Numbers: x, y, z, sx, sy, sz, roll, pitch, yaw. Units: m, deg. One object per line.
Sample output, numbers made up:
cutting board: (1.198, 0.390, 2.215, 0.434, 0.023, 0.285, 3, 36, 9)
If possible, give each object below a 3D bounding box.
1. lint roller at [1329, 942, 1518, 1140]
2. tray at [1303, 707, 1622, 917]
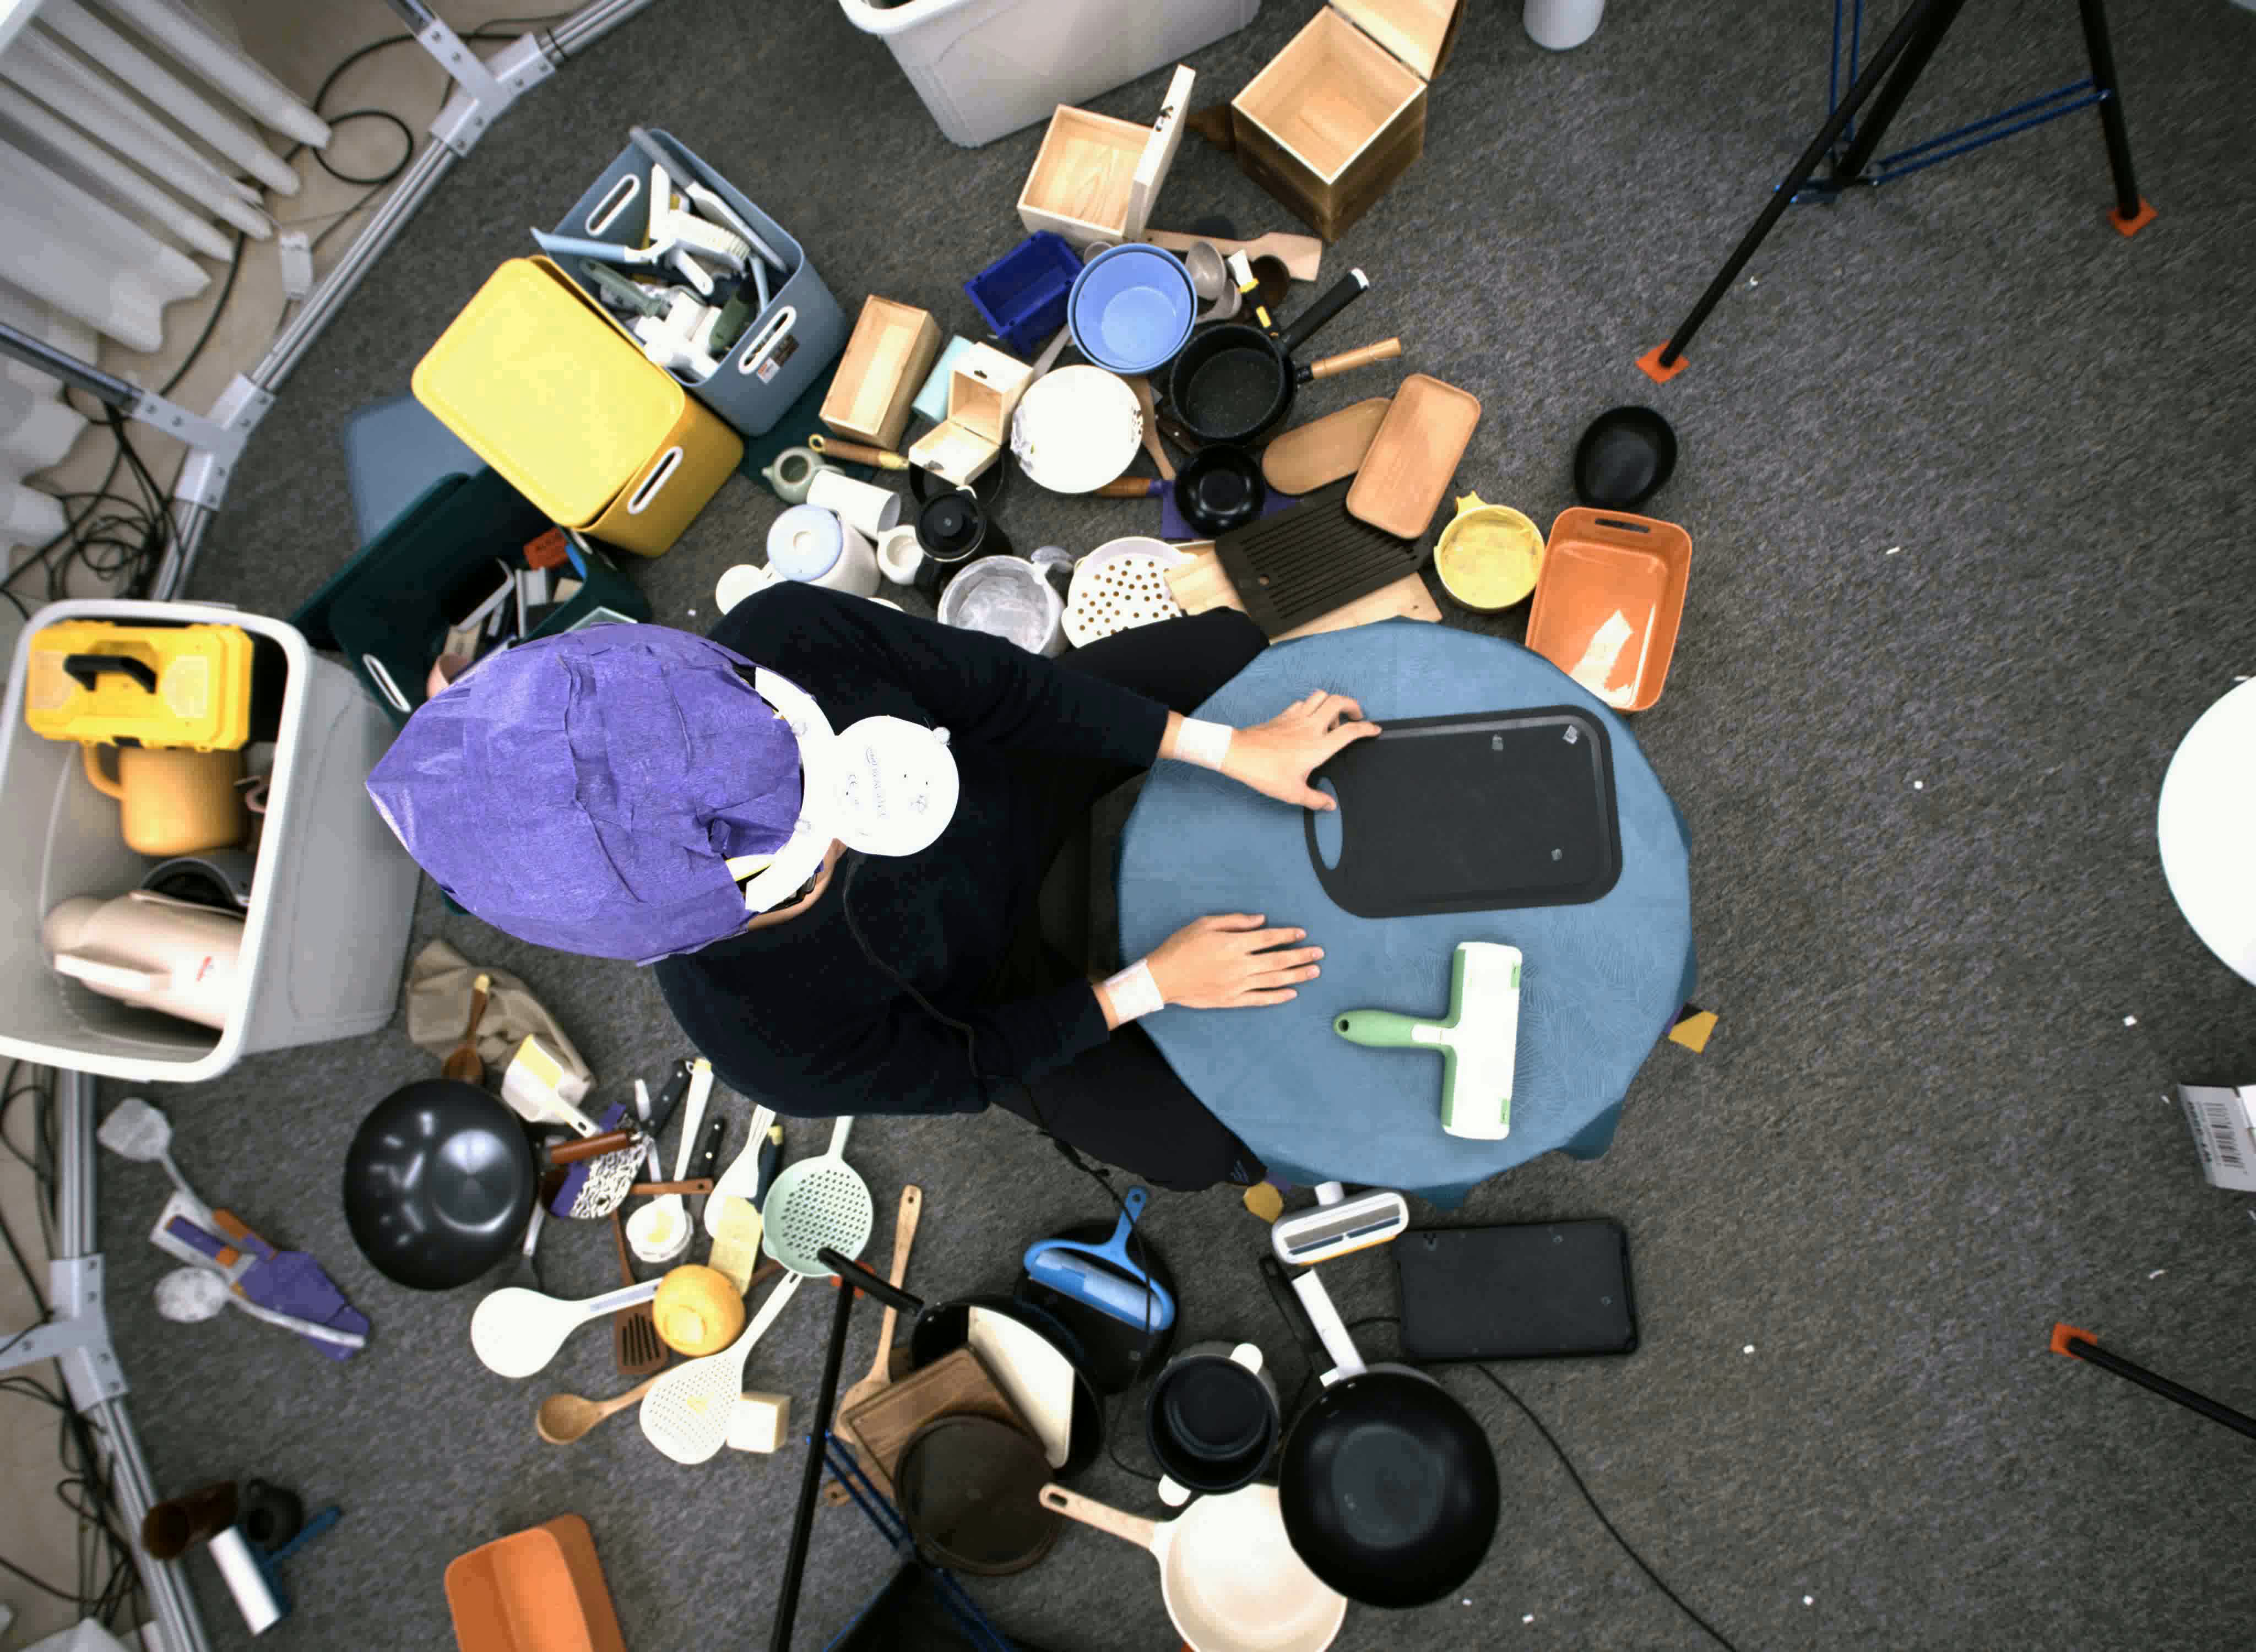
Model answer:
lint roller: (0.299, 0.210, 1.403, 0.183, 0.082, 0.197, 5, 86, 4)
tray: (0.348, -0.015, 1.447, 0.327, 0.010, 0.210, -4, 86, 10)
